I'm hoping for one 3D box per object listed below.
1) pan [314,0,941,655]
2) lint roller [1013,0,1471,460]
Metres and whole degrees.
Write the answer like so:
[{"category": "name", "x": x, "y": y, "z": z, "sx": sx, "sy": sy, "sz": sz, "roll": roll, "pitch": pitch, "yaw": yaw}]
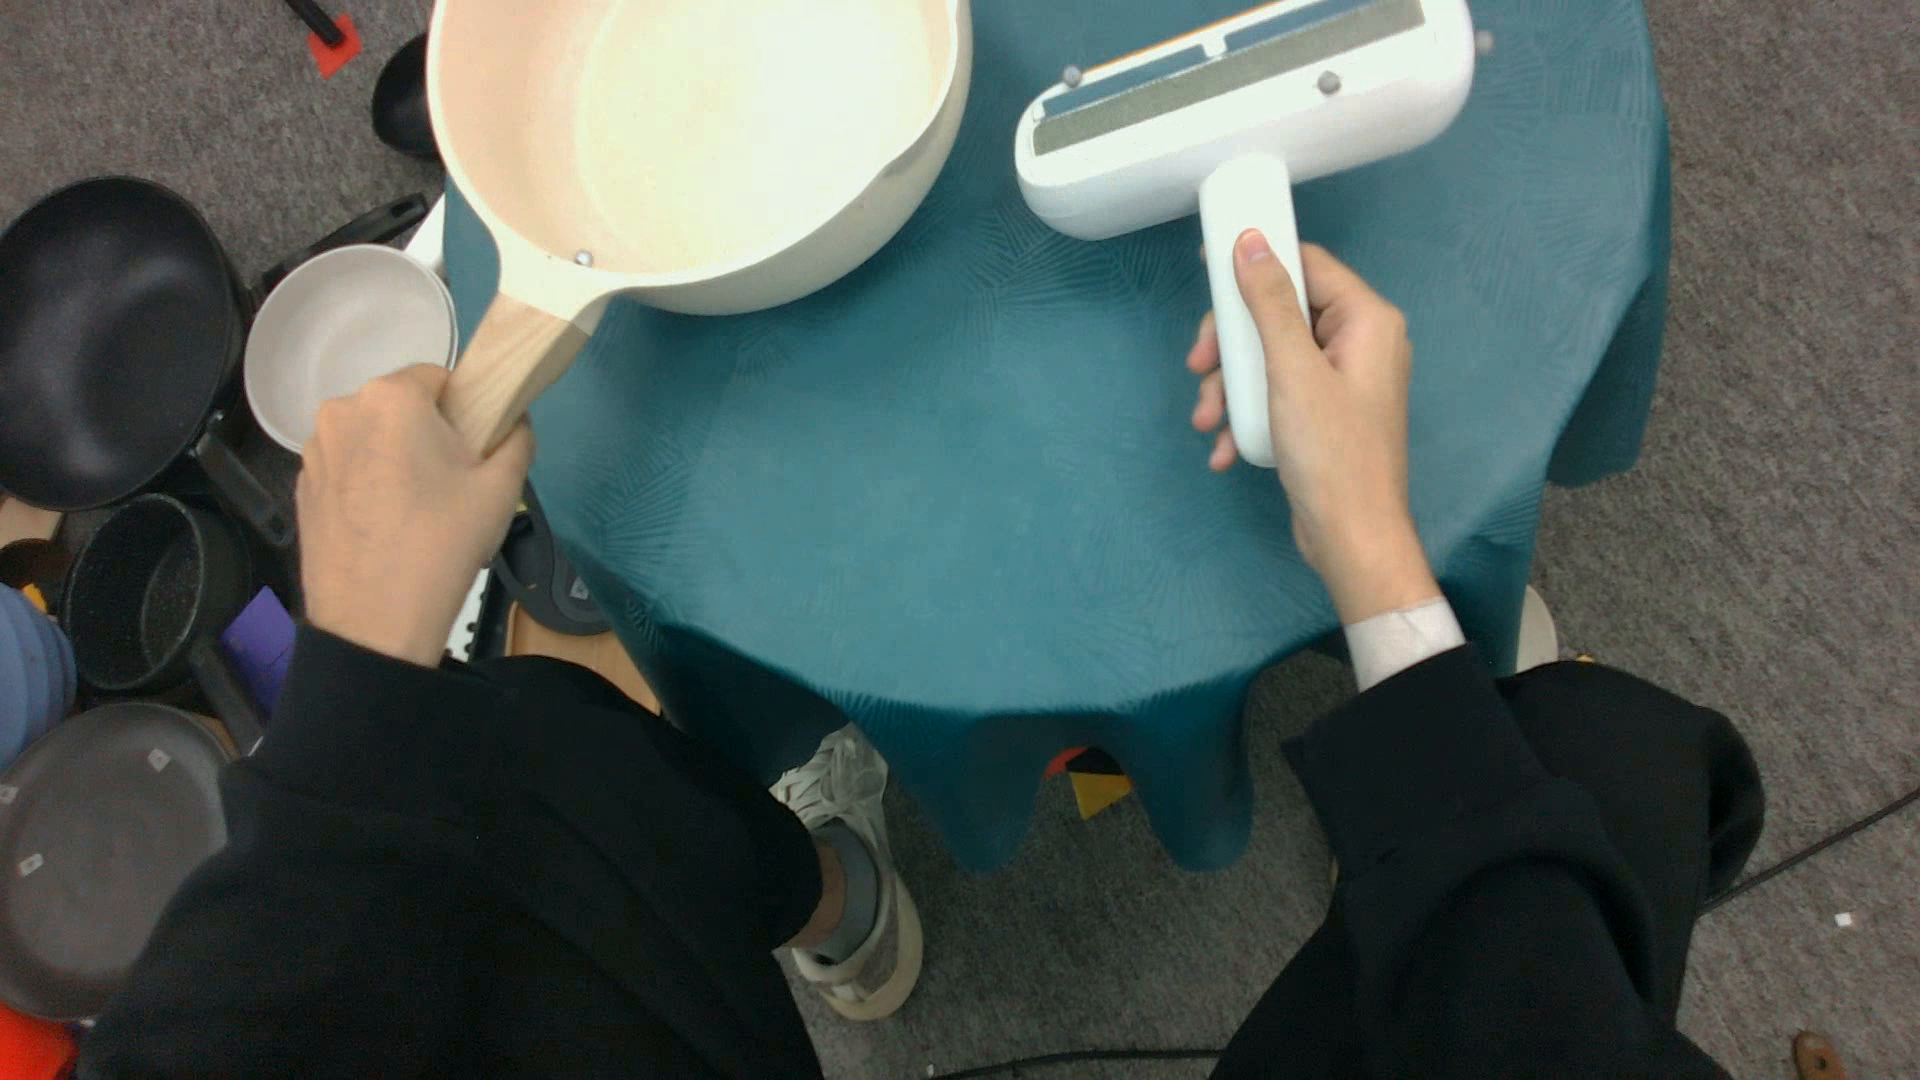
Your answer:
[{"category": "pan", "x": -0.164, "y": -0.145, "z": 0.633, "sx": 0.263, "sy": 0.102, "sz": 0.435, "roll": 22, "pitch": 83, "yaw": 14}, {"category": "lint roller", "x": 0.117, "y": -0.131, "z": 0.580, "sx": 0.192, "sy": 0.074, "sz": 0.193, "roll": -4, "pitch": 69, "yaw": 16}]
